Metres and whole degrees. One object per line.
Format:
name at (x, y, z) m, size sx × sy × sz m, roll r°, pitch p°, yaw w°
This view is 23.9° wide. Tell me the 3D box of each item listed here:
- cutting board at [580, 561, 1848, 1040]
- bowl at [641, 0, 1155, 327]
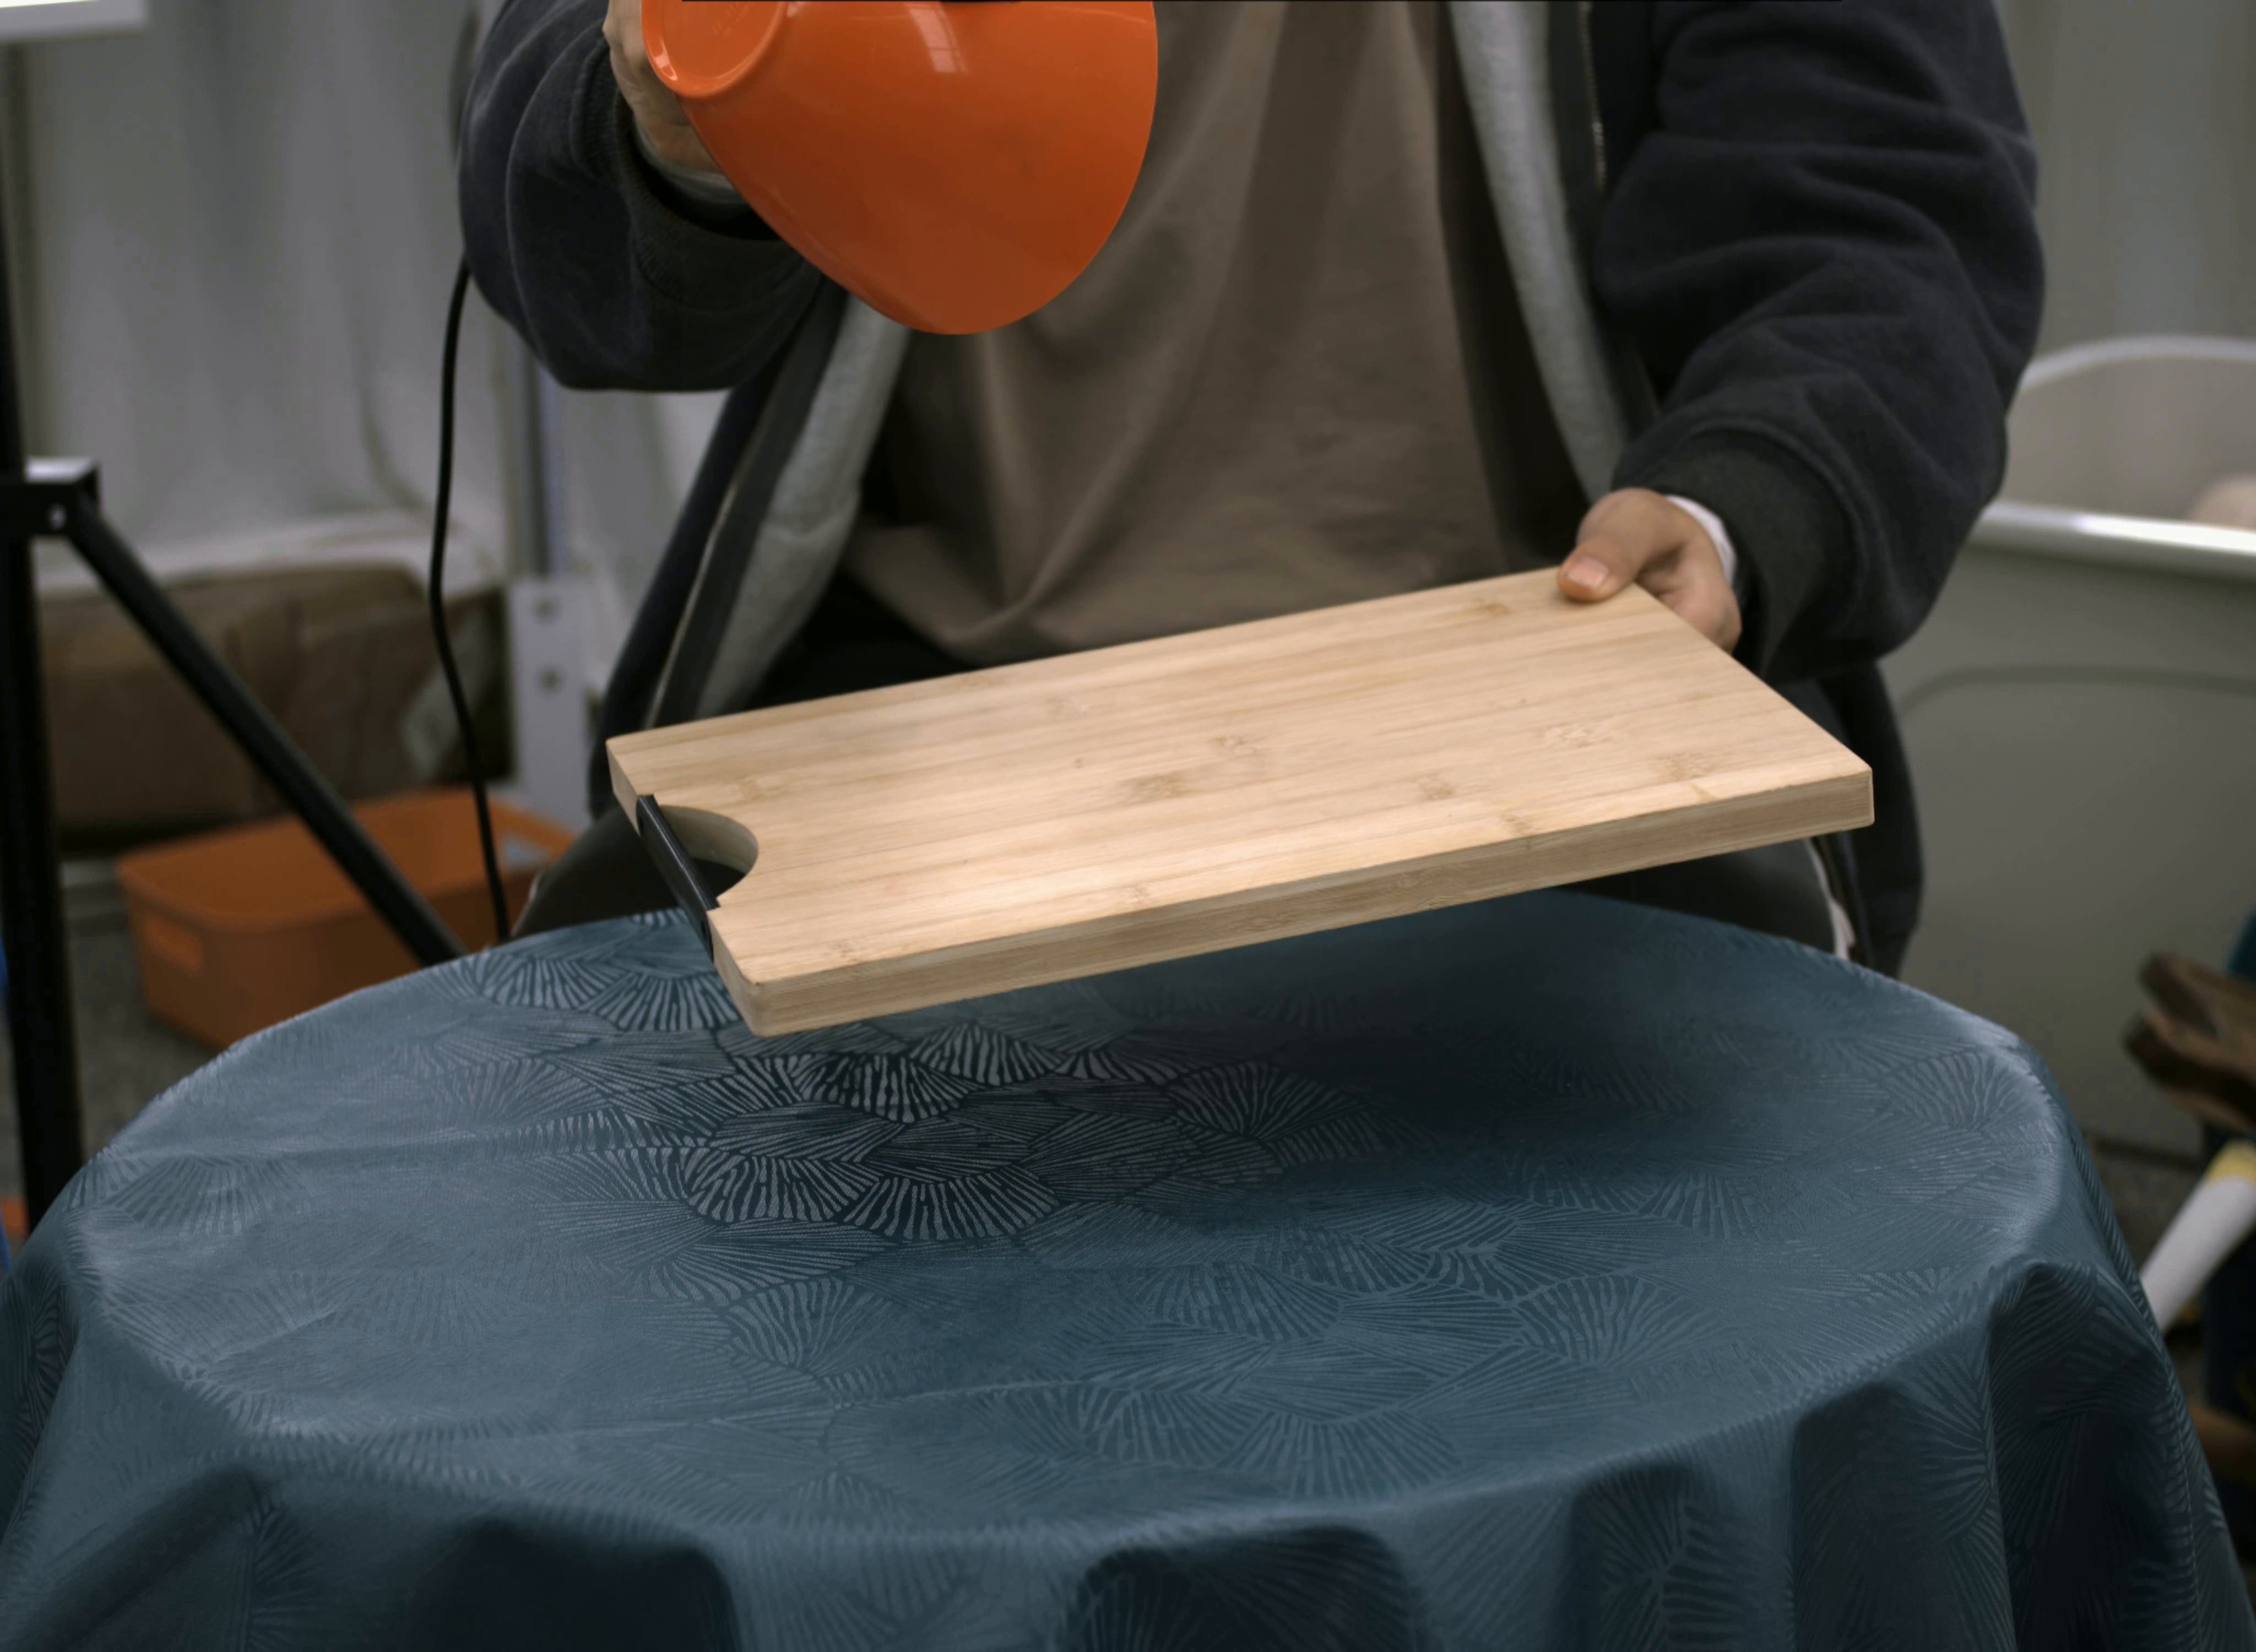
cutting board at (0.021, -0.012, 1.635) m, size 0.344 × 0.023 × 0.254 m, roll -11°, pitch 19°, yaw -11°
bowl at (-0.077, -0.227, 1.546) m, size 0.102 × 0.148 × 0.151 m, roll 10°, pitch 4°, yaw -41°
